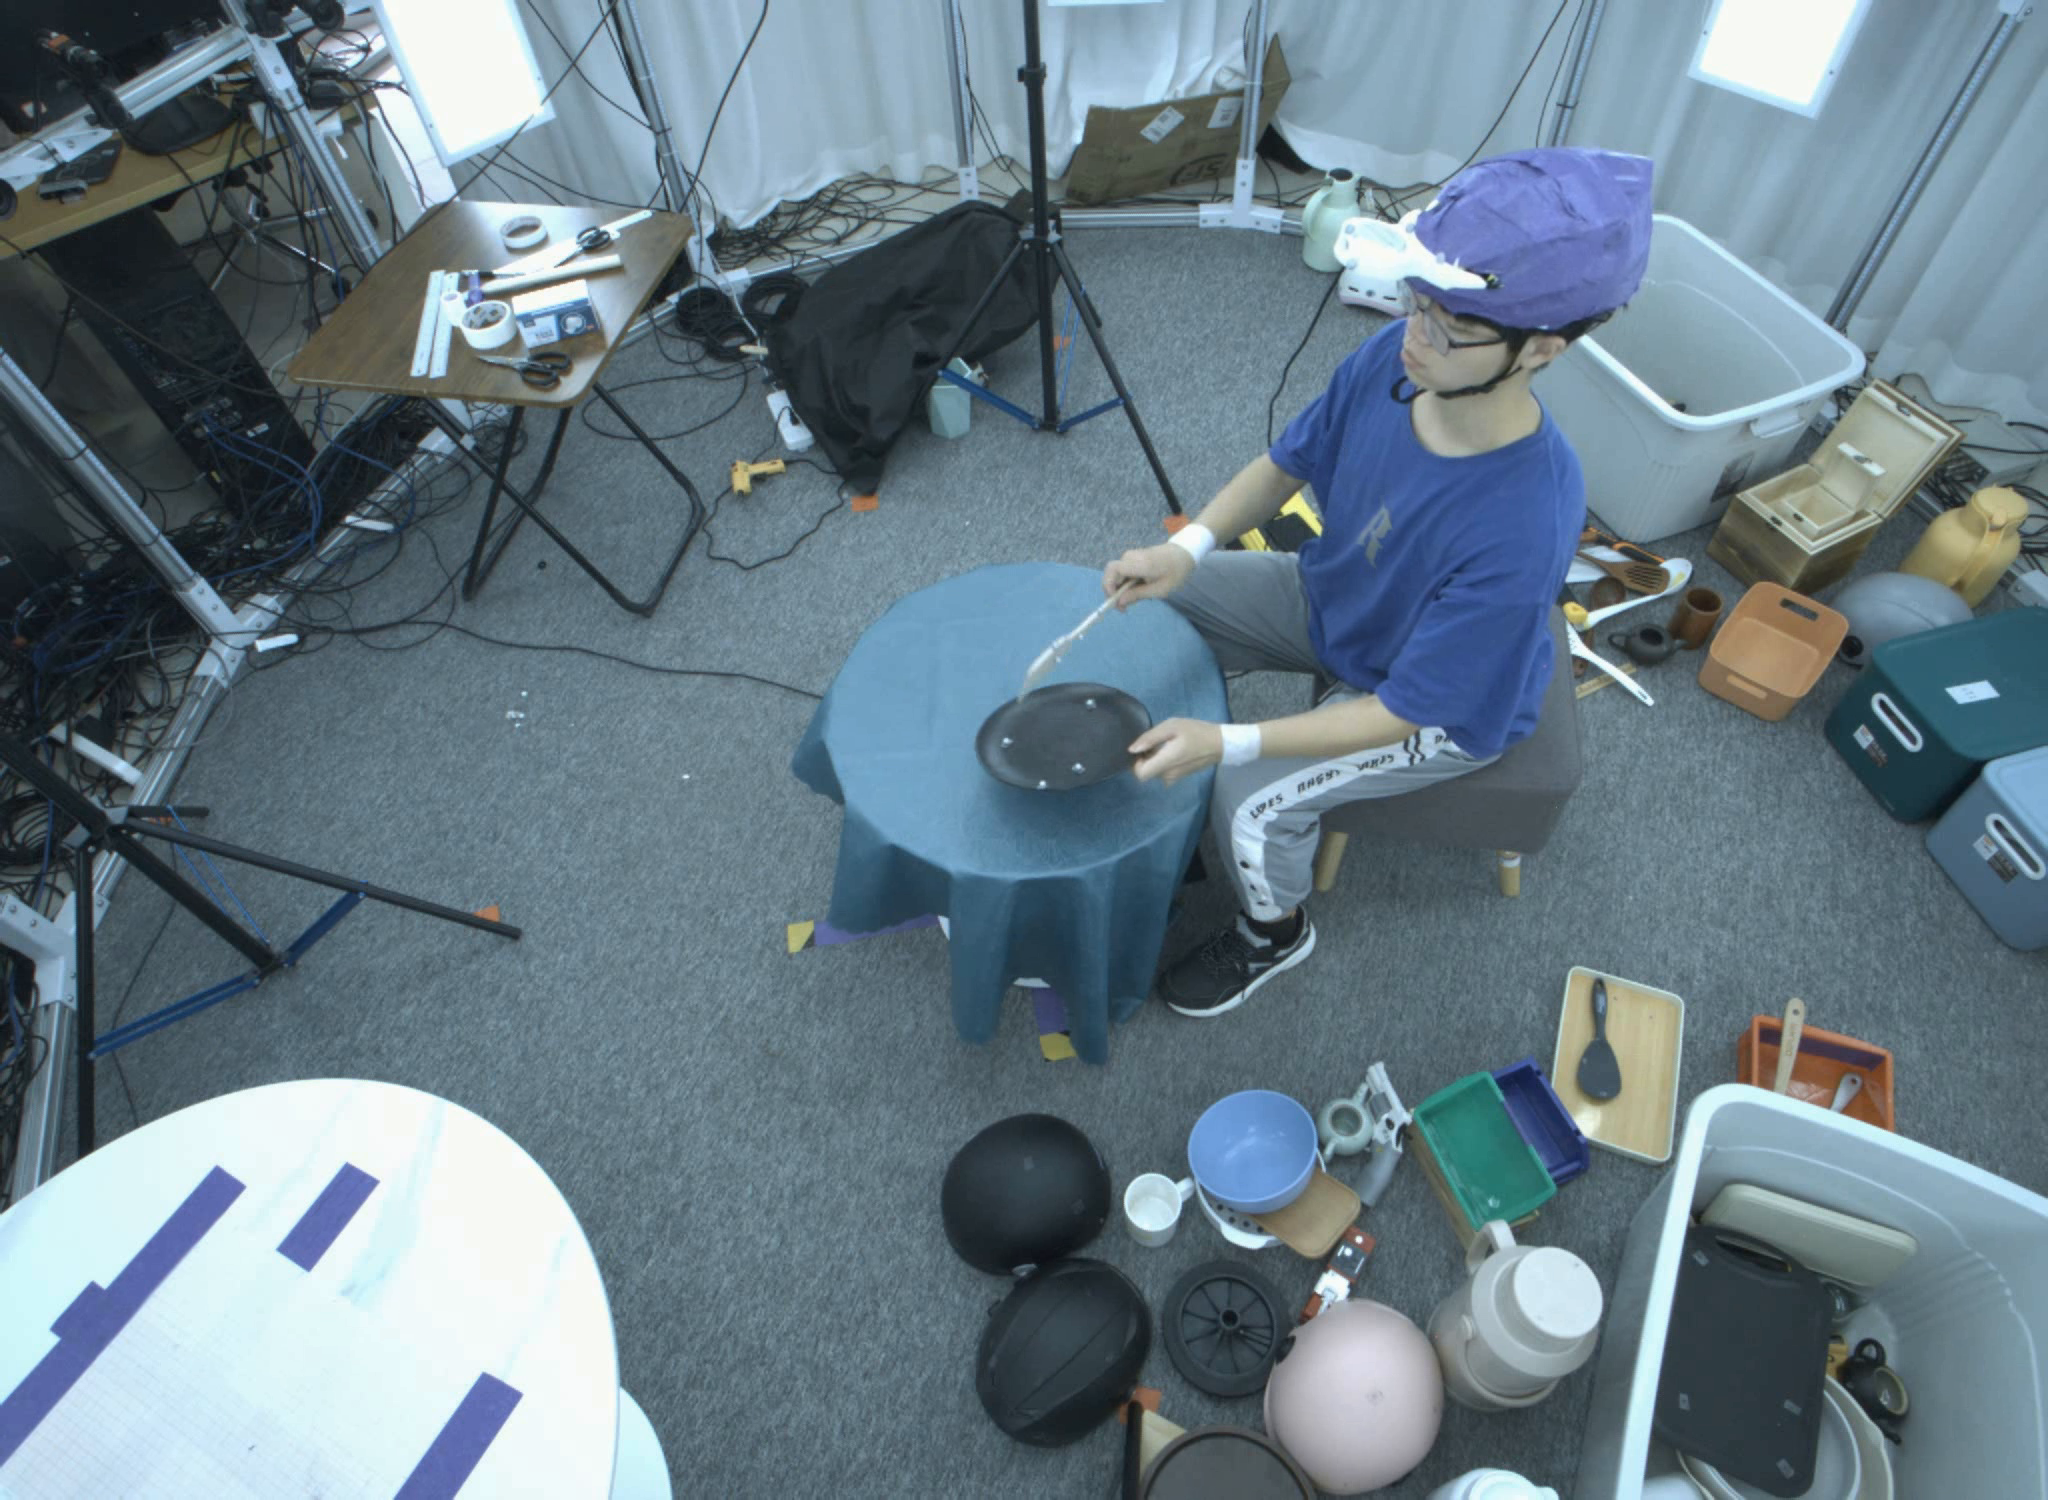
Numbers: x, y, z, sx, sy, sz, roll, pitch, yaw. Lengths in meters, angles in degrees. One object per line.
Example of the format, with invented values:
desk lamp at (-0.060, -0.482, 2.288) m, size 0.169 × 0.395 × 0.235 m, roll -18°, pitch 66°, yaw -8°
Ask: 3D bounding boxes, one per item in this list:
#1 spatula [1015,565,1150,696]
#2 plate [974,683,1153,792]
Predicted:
spatula at (0.084, -0.175, 1.677) m, size 0.010 × 0.072 × 0.295 m, roll 39°, pitch 58°, yaw 14°
plate at (0.054, -0.014, 1.668) m, size 0.243 × 0.024 × 0.242 m, roll -6°, pitch 37°, yaw 5°
